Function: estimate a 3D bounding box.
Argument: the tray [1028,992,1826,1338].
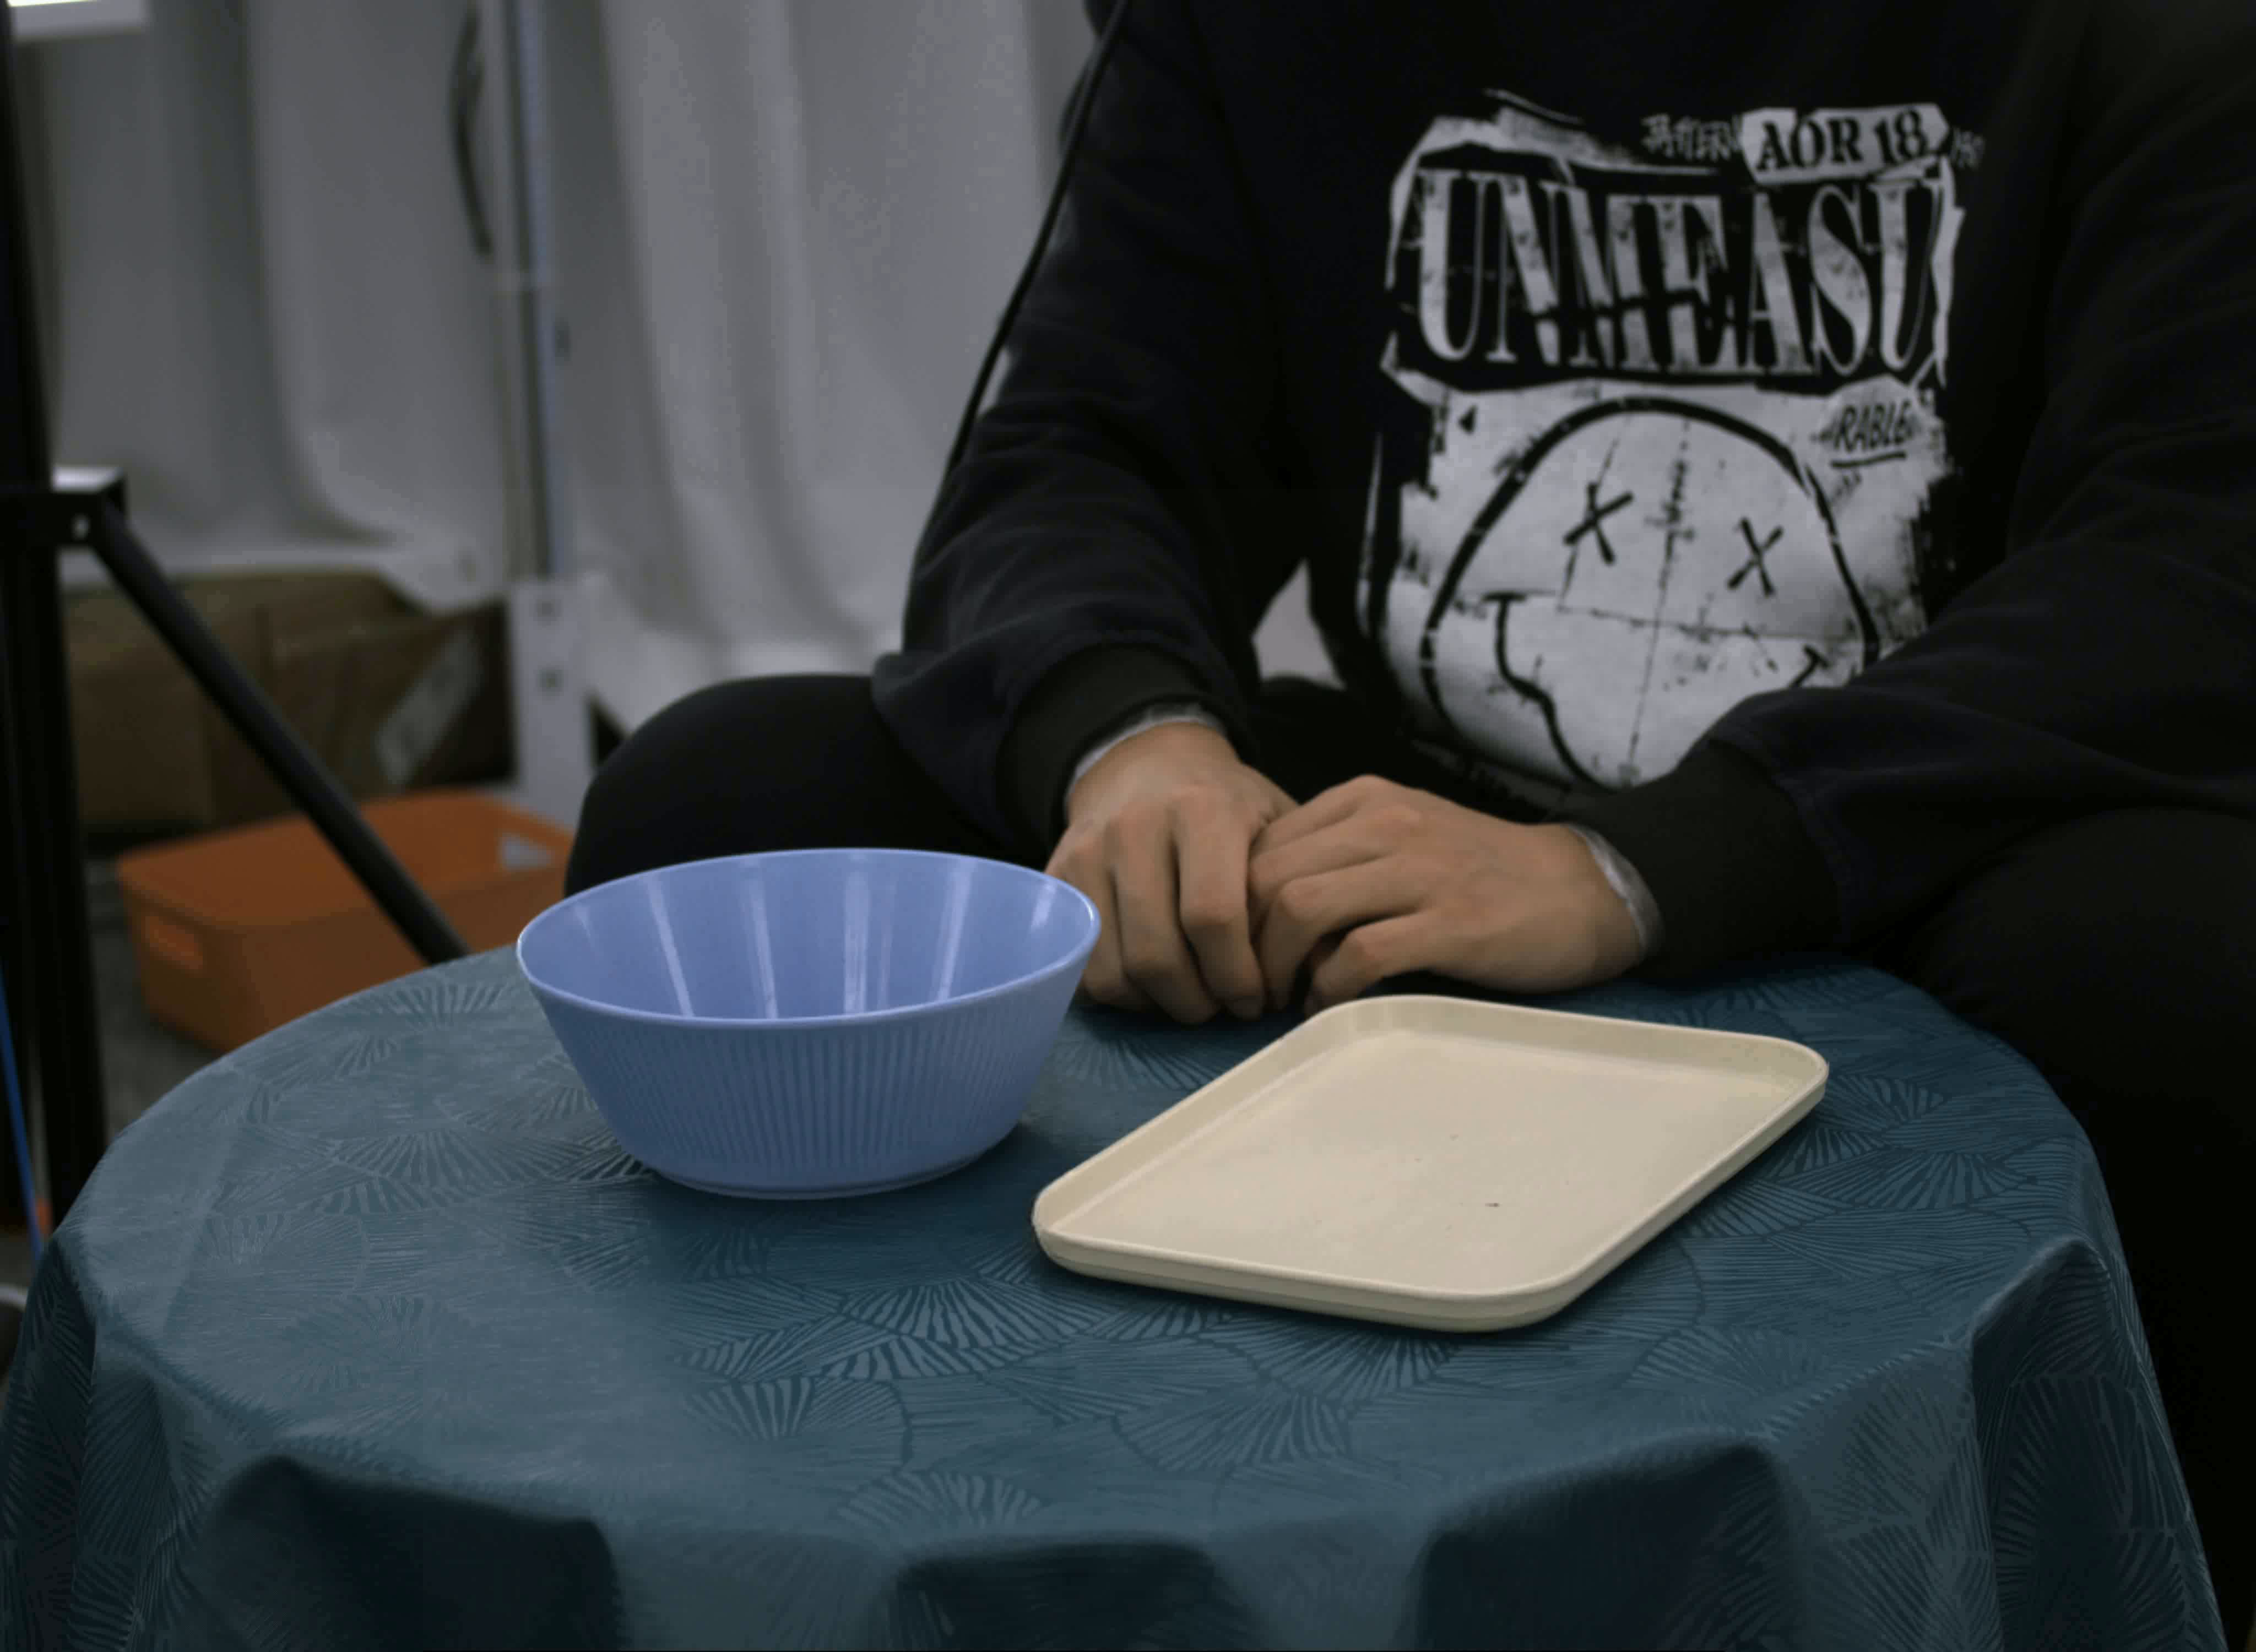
[{"bbox_3d":[0.091,0.098,1.547,0.174,0.017,0.235,7,18,29],"label":"tray"}]

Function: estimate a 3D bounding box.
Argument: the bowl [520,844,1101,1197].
[{"bbox_3d":[-0.094,0.061,1.609,0.175,0.070,0.177,-3,16,-1],"label":"bowl"}]
